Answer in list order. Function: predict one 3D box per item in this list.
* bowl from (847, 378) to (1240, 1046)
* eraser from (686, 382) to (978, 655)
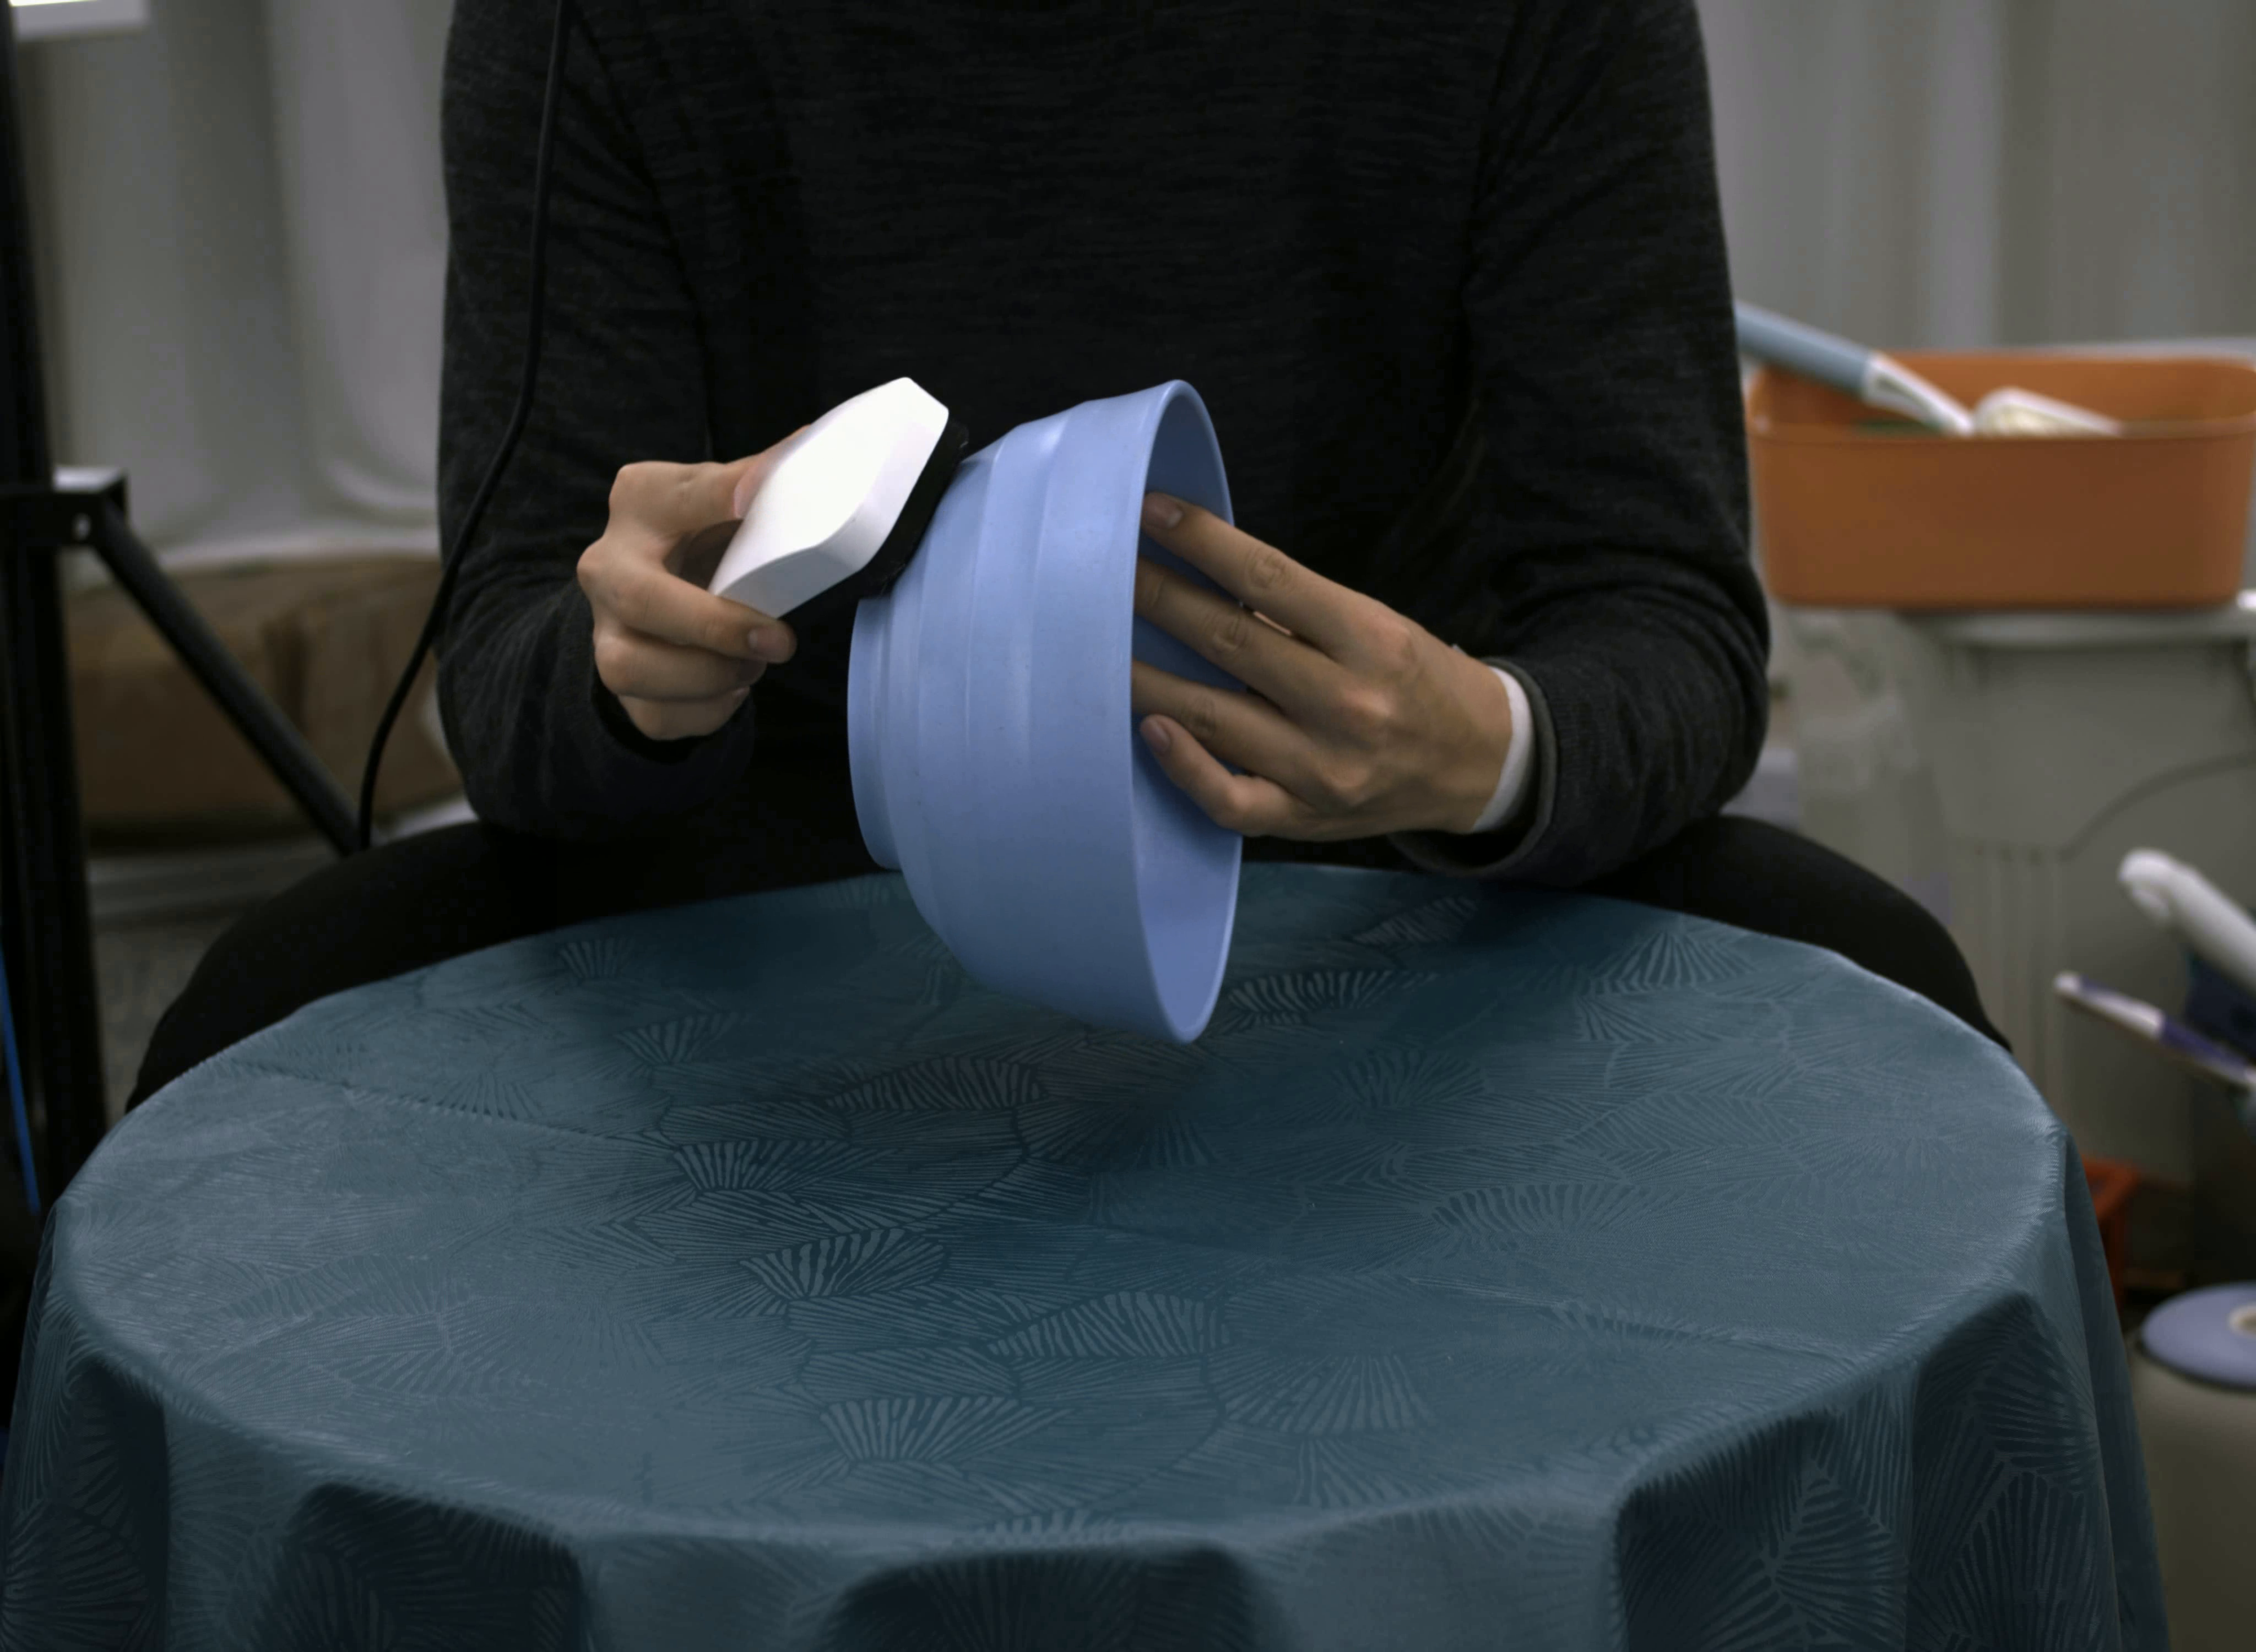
[{"bbox_3d":[-0.027,-0.033,1.583,0.096,0.196,0.195,-1,16,11],"label":"bowl"},{"bbox_3d":[-0.091,-0.092,1.597,0.034,0.063,0.133,35,-22,-16],"label":"eraser"}]
